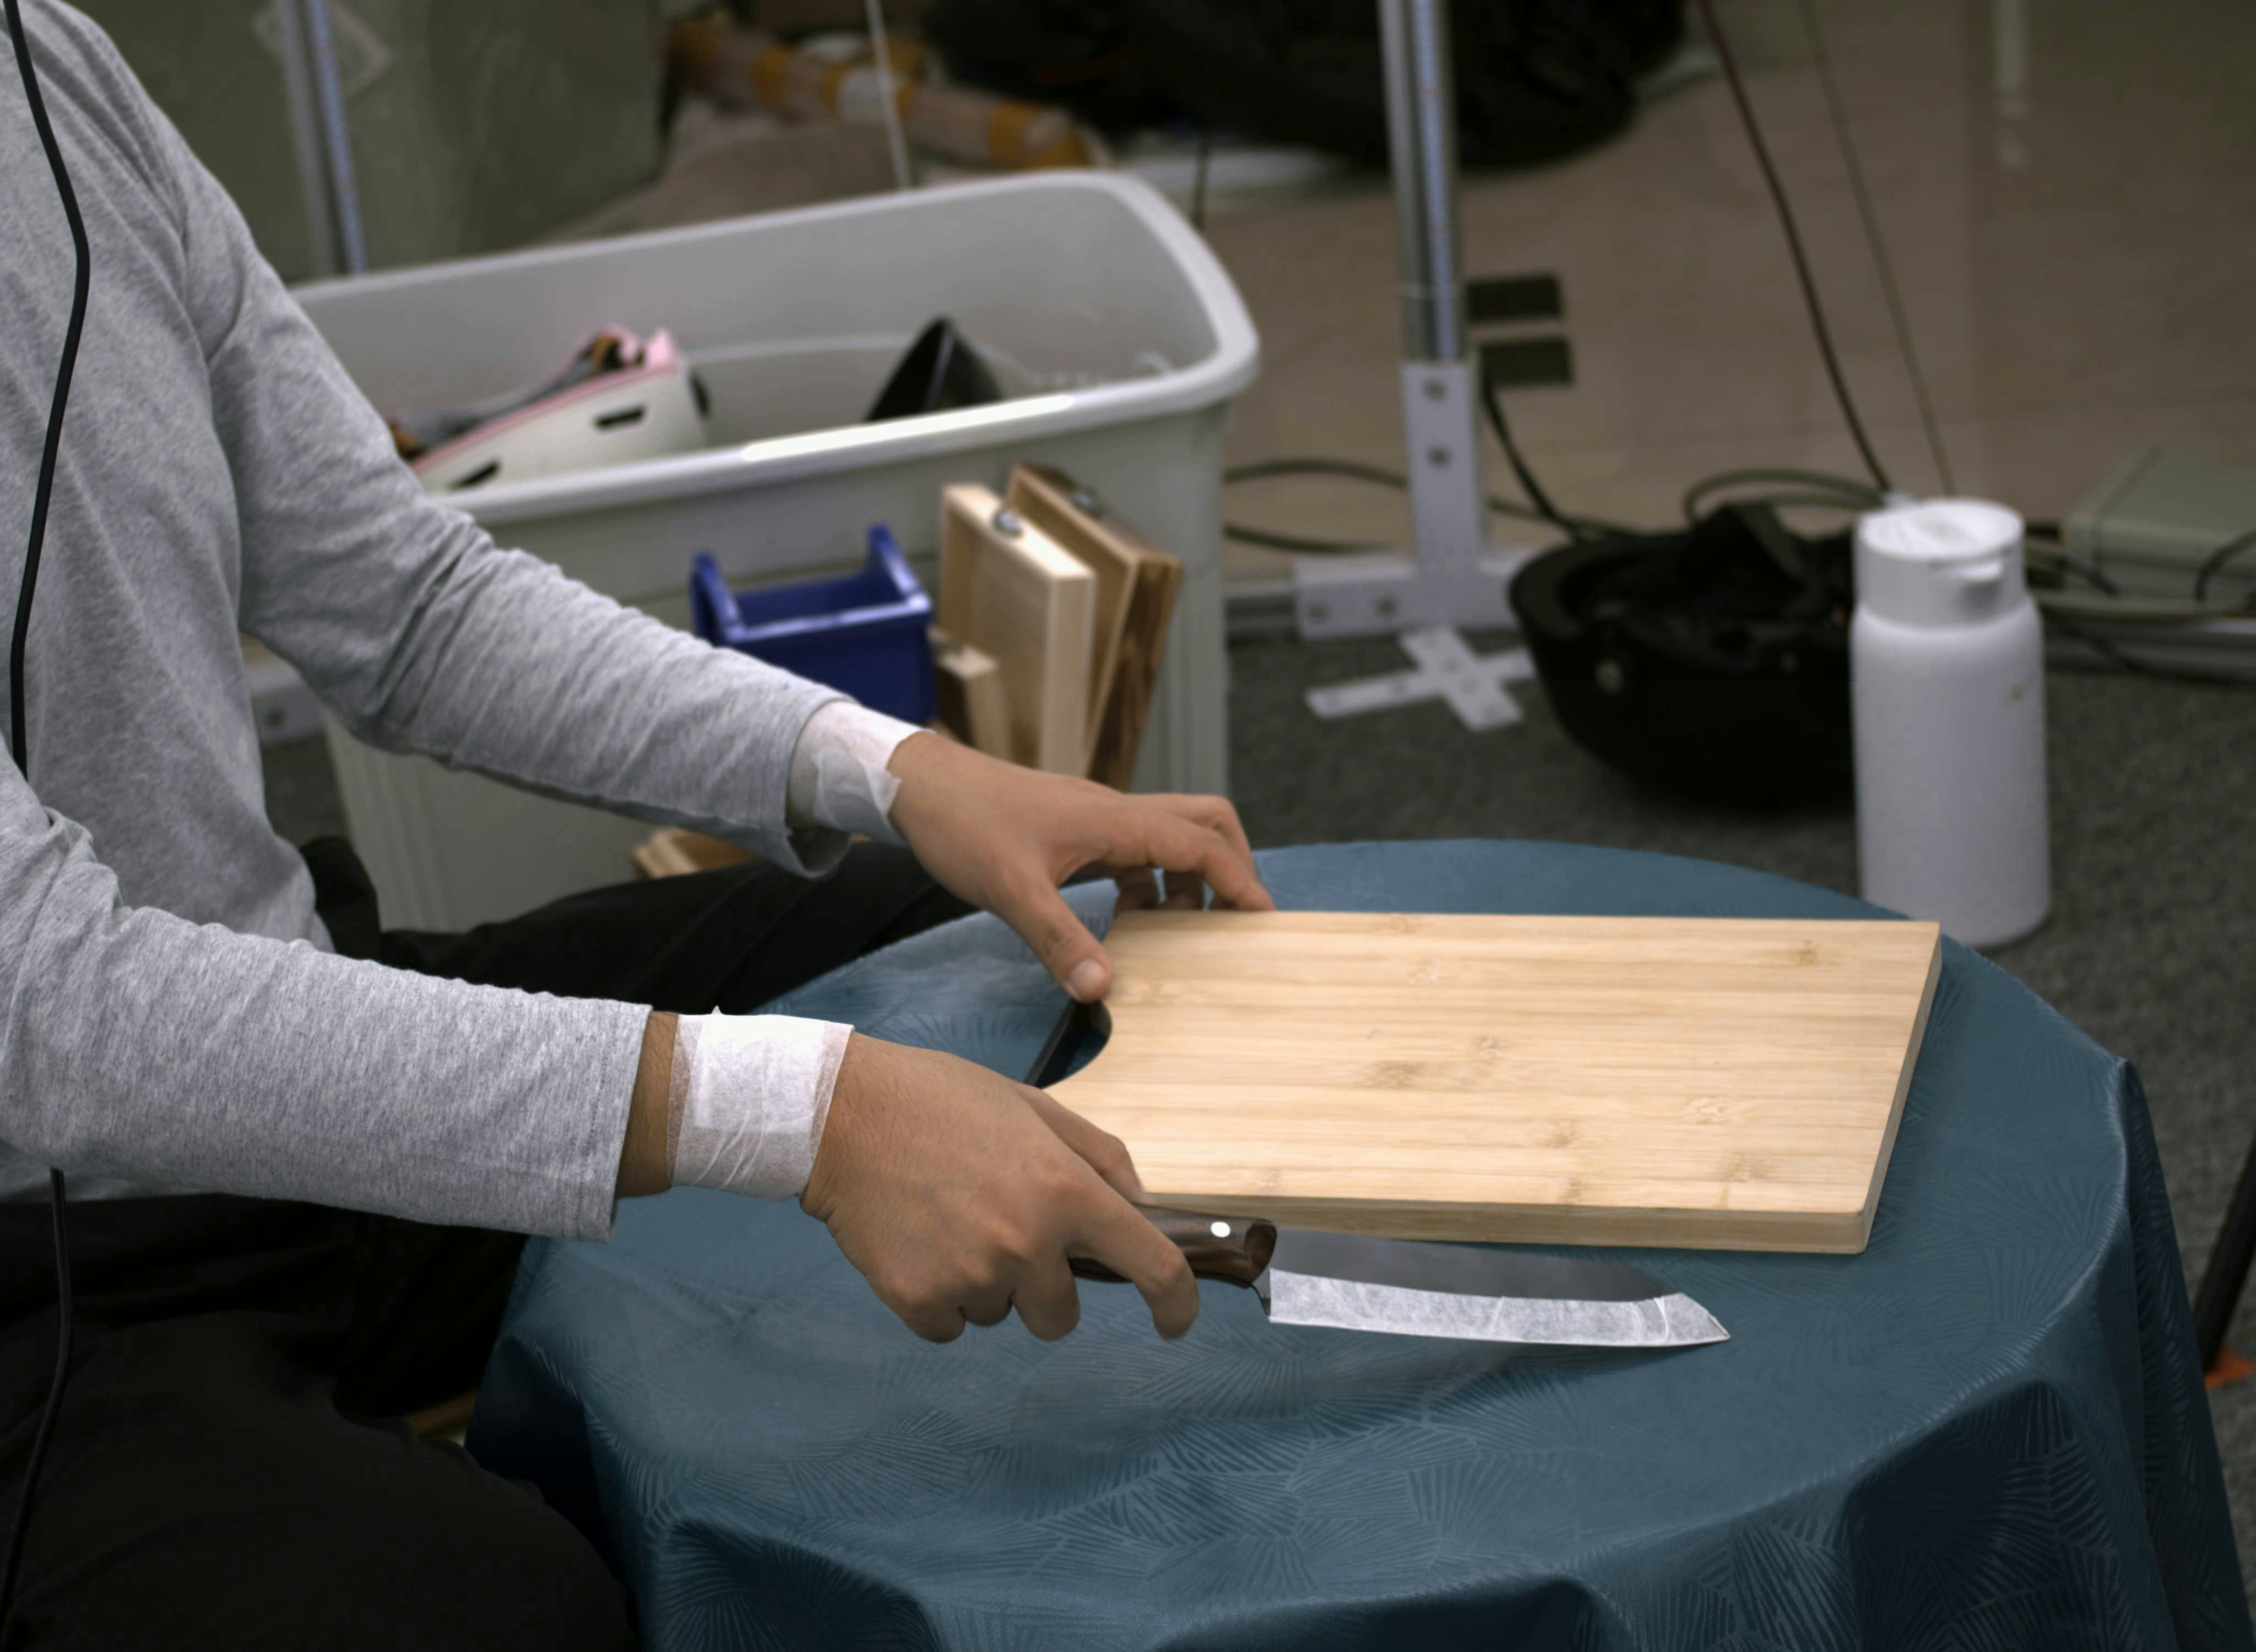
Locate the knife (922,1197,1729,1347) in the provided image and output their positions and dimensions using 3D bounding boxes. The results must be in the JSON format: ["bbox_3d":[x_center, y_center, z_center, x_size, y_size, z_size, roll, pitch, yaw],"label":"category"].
[{"bbox_3d":[0.070,0.159,1.994,0.289,0.020,0.049,7,45,-6],"label":"knife"}]

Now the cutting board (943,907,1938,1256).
[{"bbox_3d":[0.126,0.095,2.197,0.348,0.024,0.247,1,25,15],"label":"cutting board"}]
